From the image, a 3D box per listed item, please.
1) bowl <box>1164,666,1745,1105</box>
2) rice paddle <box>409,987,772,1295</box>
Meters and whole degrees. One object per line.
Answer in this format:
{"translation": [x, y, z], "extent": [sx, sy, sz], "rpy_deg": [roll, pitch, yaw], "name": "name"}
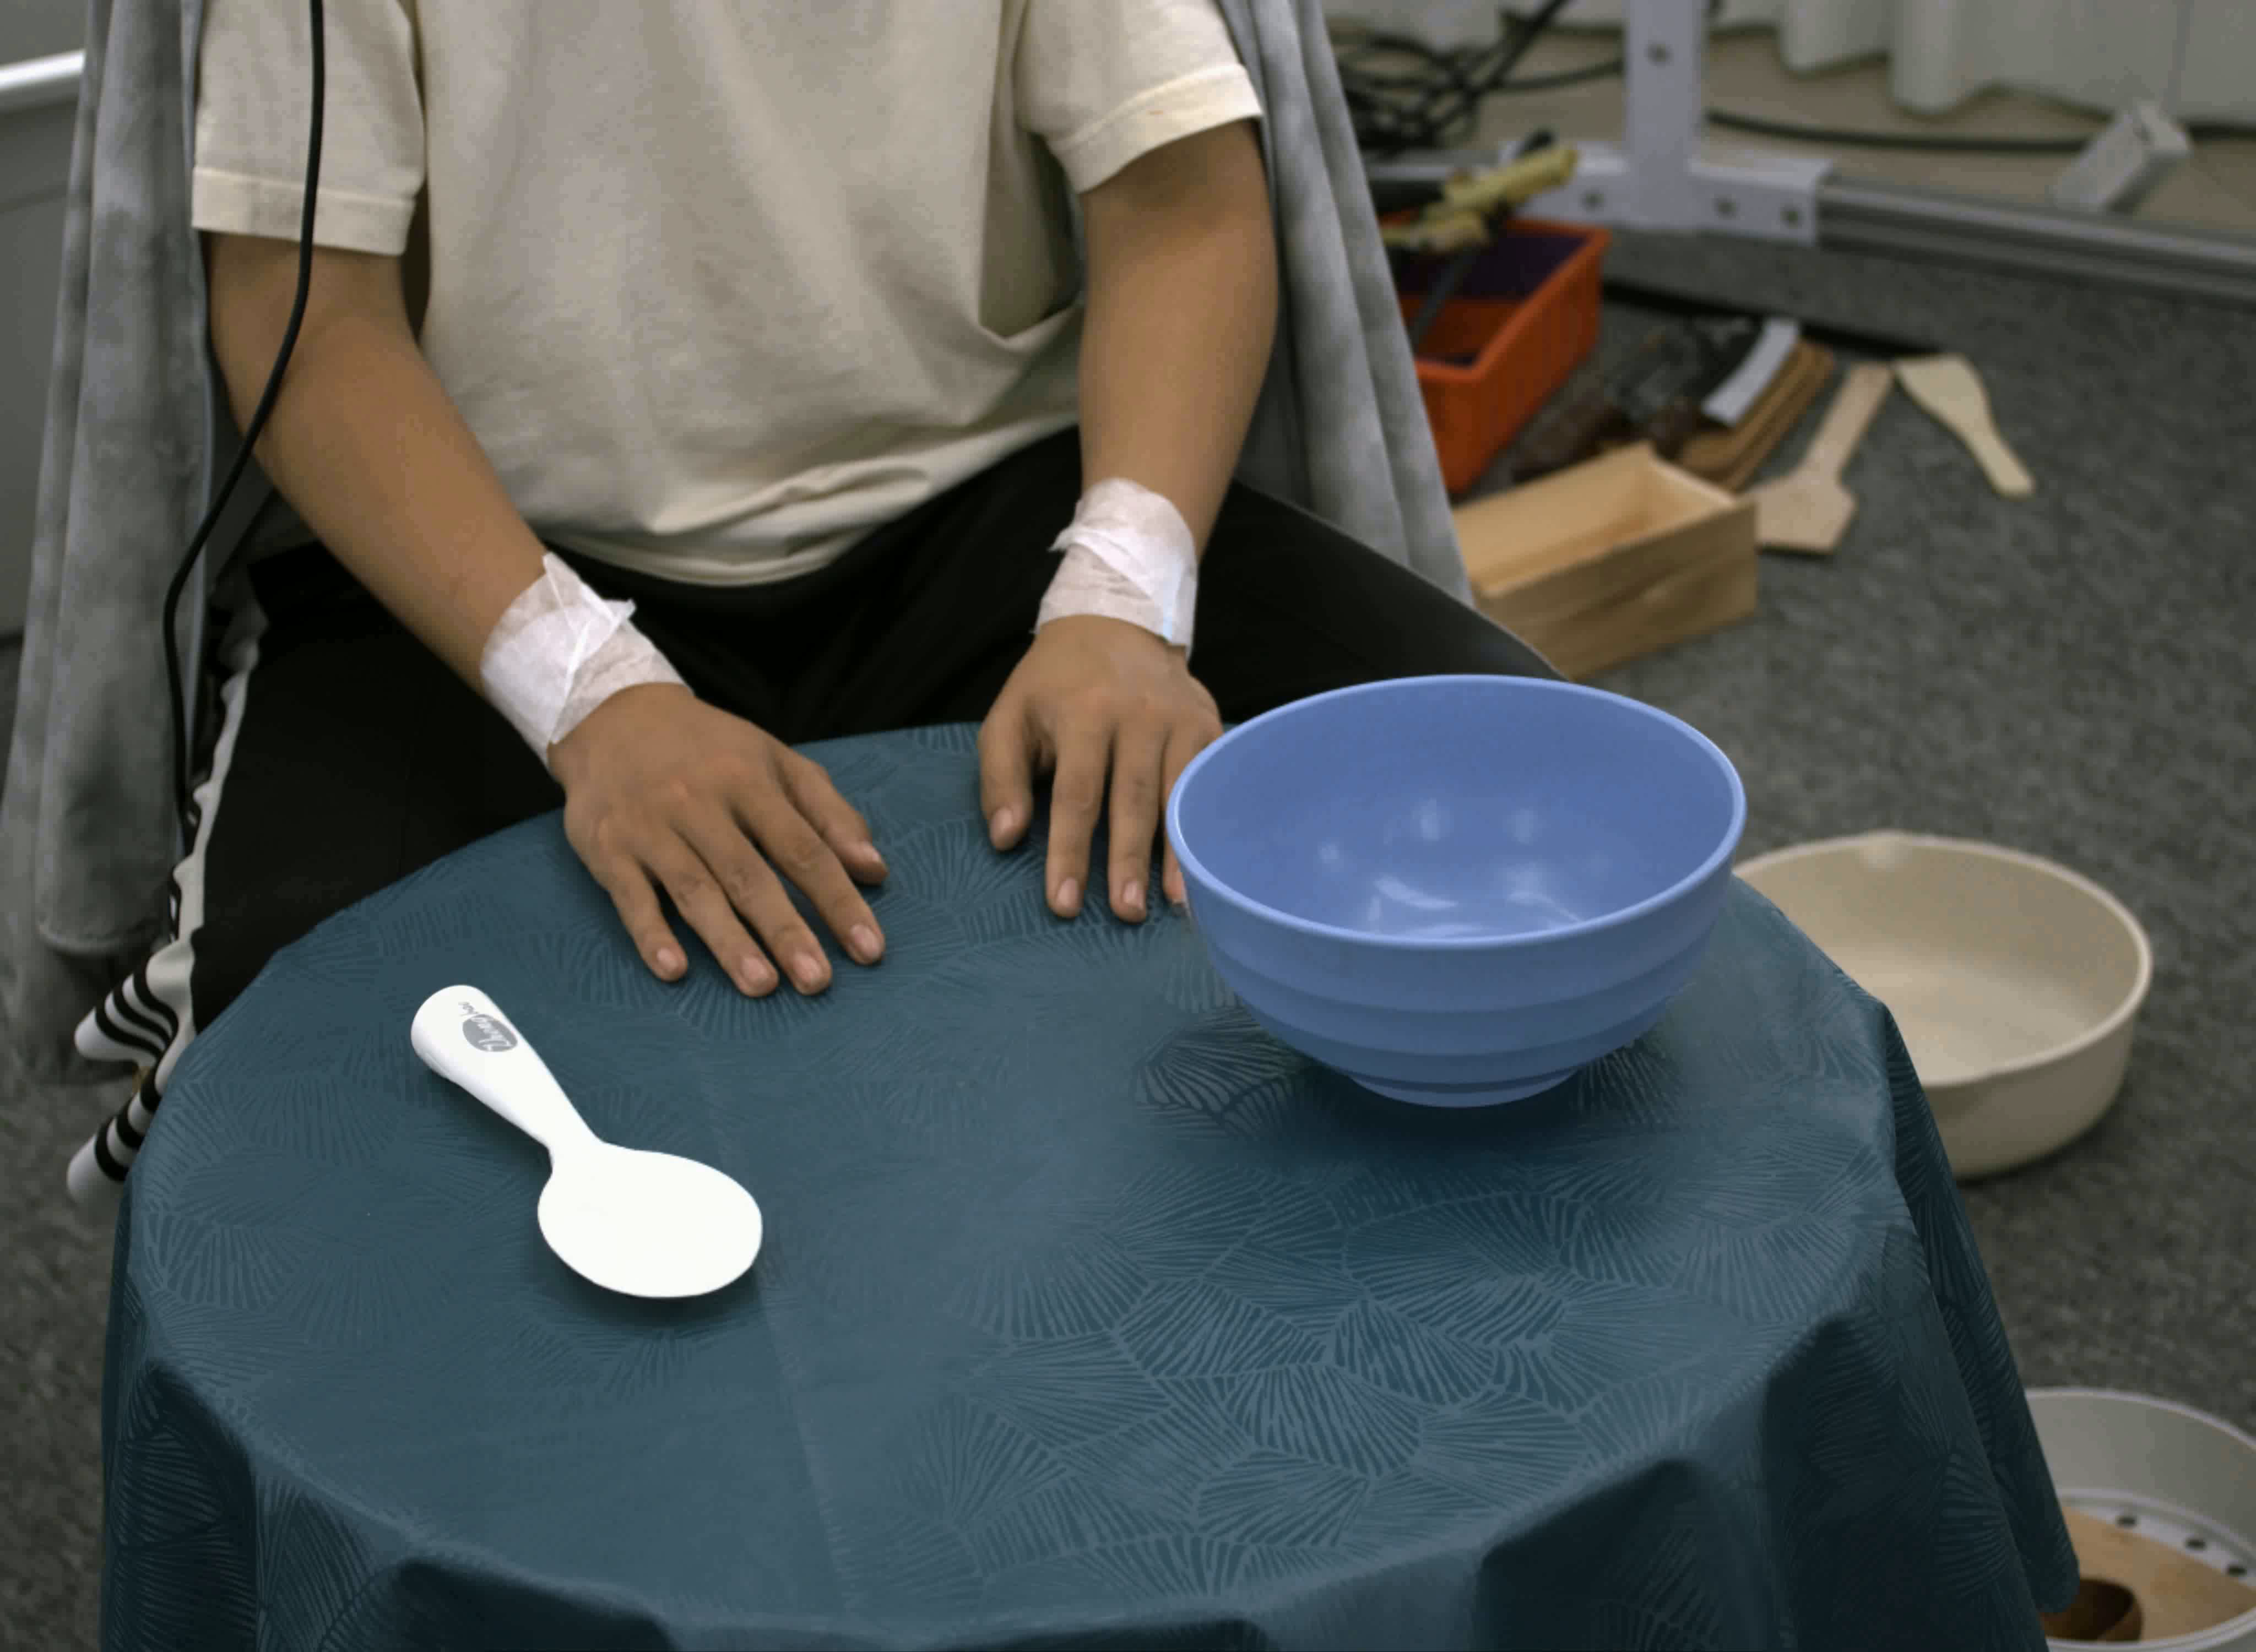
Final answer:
{"translation": [0.112, 0.031, 1.919], "extent": [0.195, 0.094, 0.199], "rpy_deg": [-3, 29, 2], "name": "bowl"}
{"translation": [-0.183, 0.107, 1.874], "extent": [0.069, 0.029, 0.206], "rpy_deg": [-19, 31, -25], "name": "rice paddle"}
